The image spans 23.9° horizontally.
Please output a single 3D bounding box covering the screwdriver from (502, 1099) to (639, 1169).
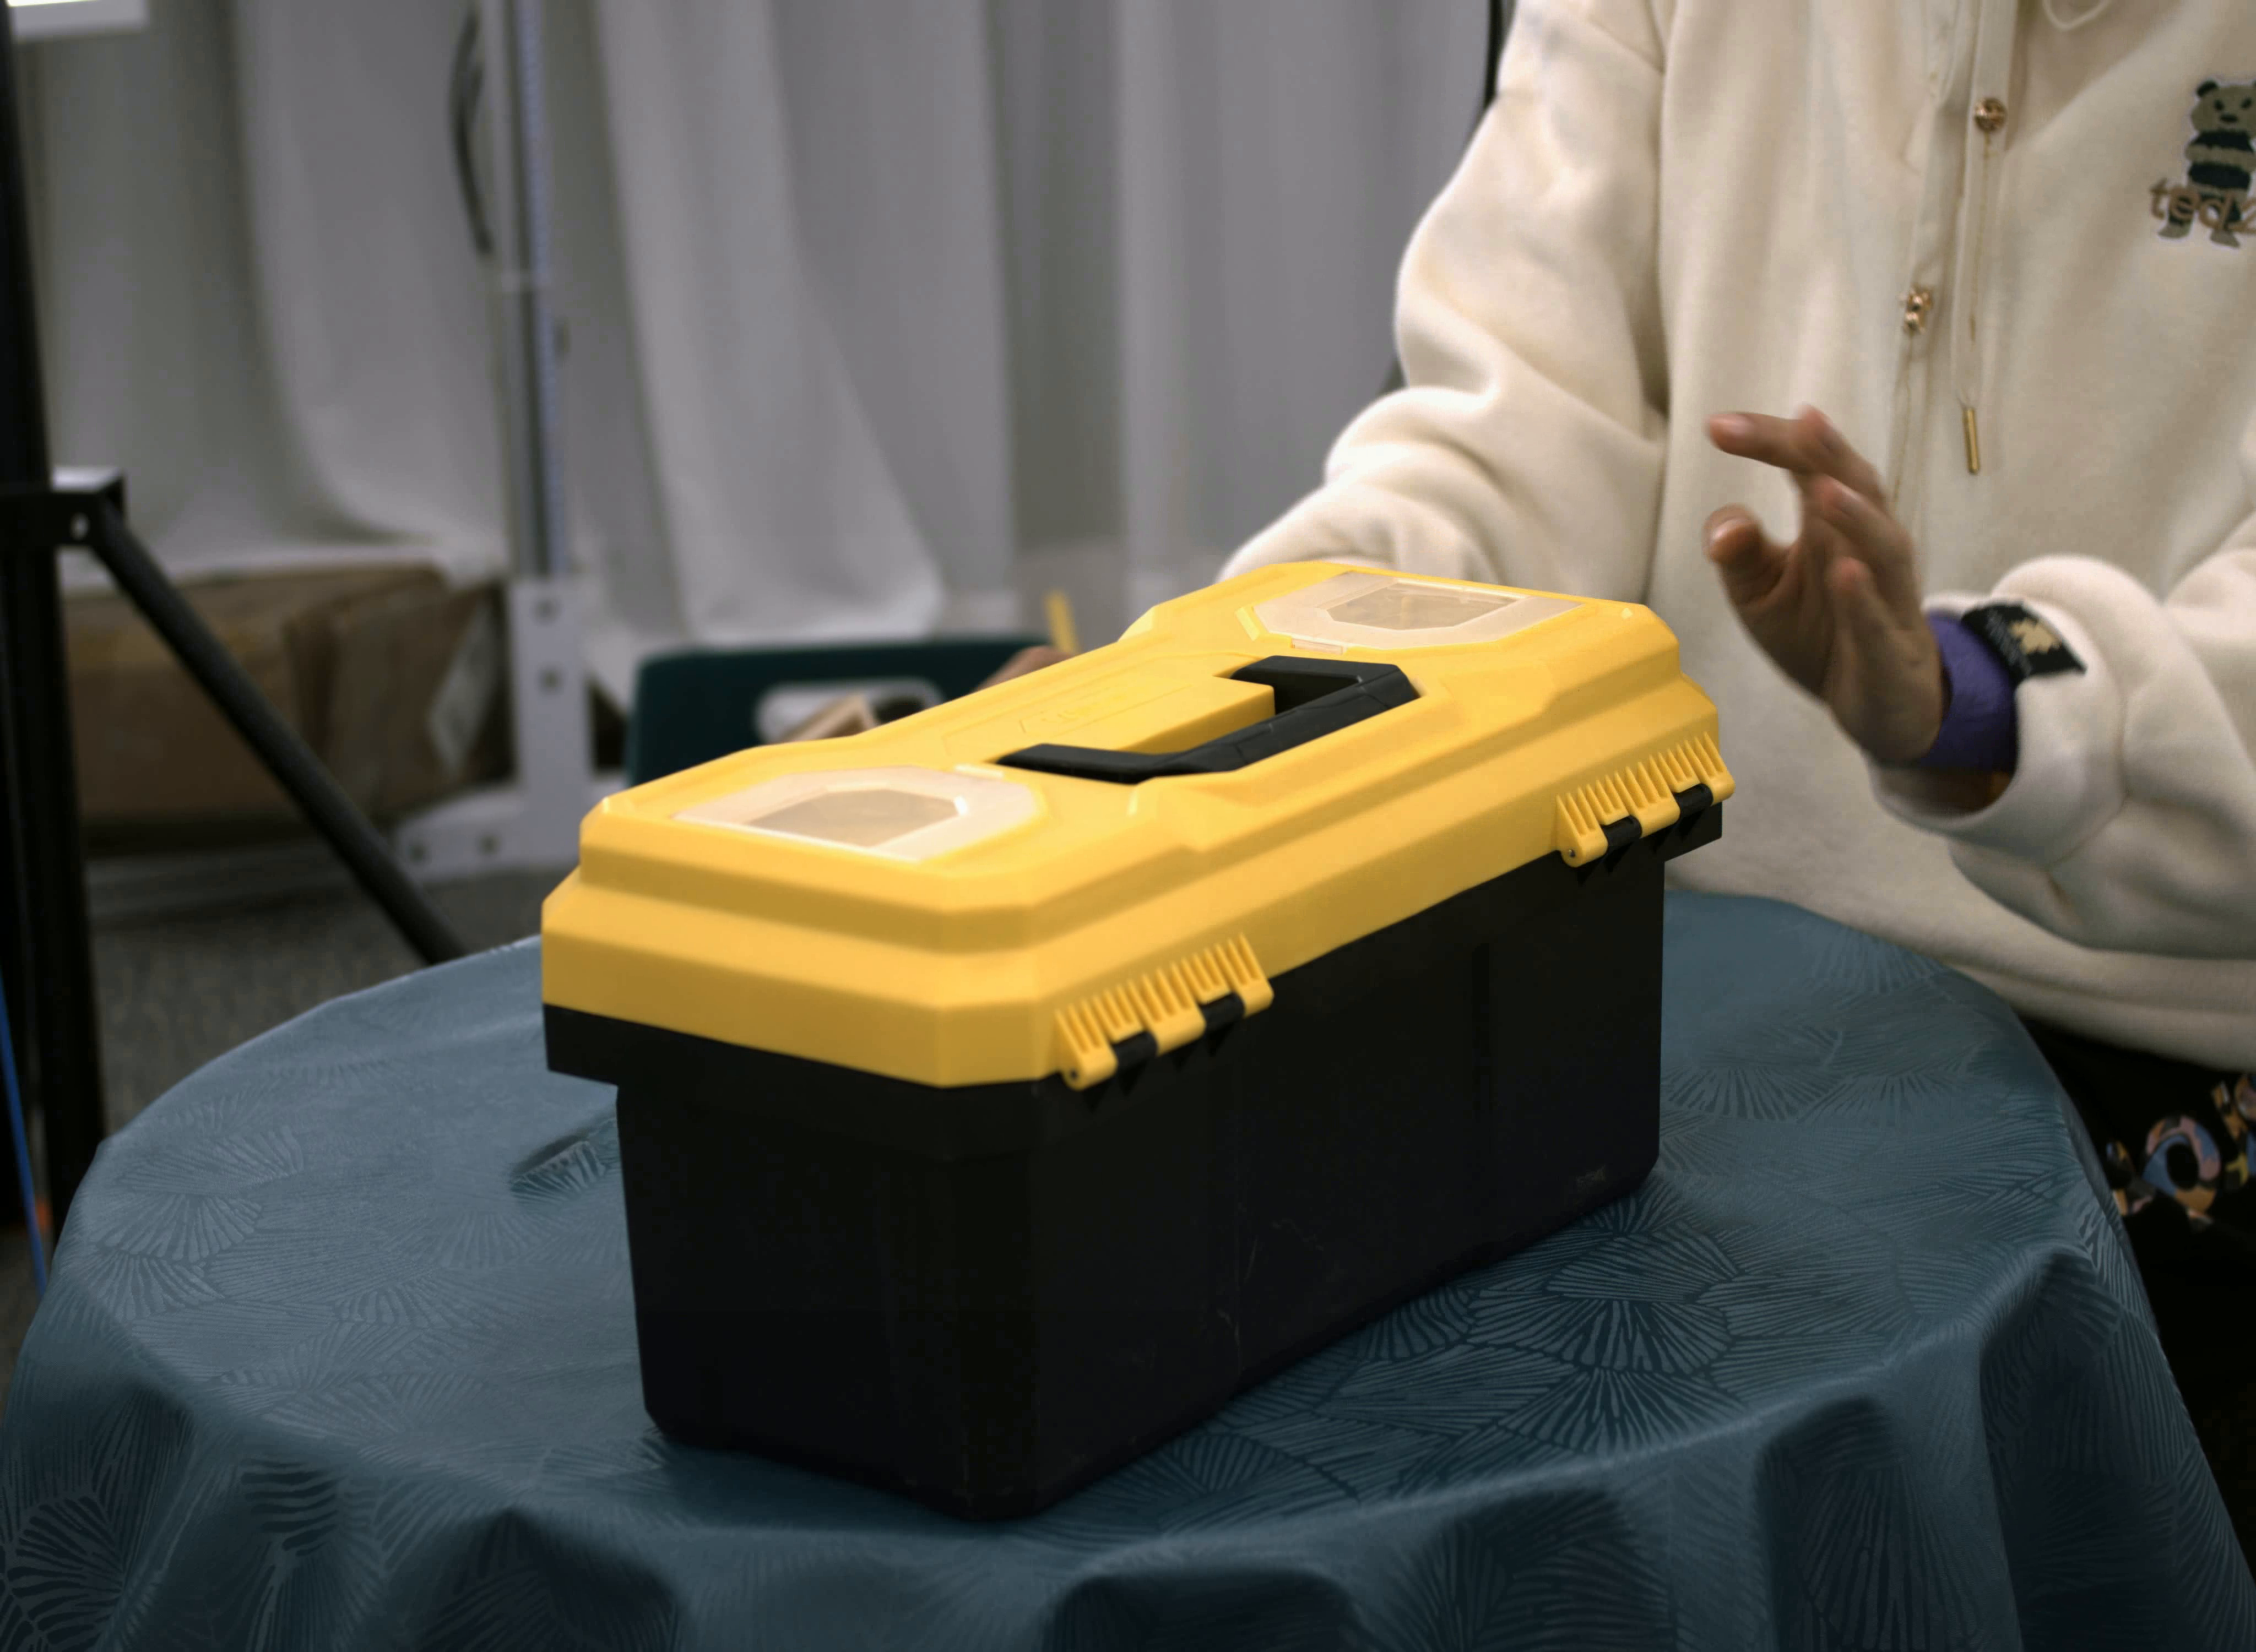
[{"bbox_3d":[-0.126,0.078,1.666,0.032,0.031,0.194,10,25,37],"label":"screwdriver"}]

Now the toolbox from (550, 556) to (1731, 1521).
[{"bbox_3d":[0.011,0.048,1.449,0.185,0.173,0.344,10,20,38],"label":"toolbox"}]
